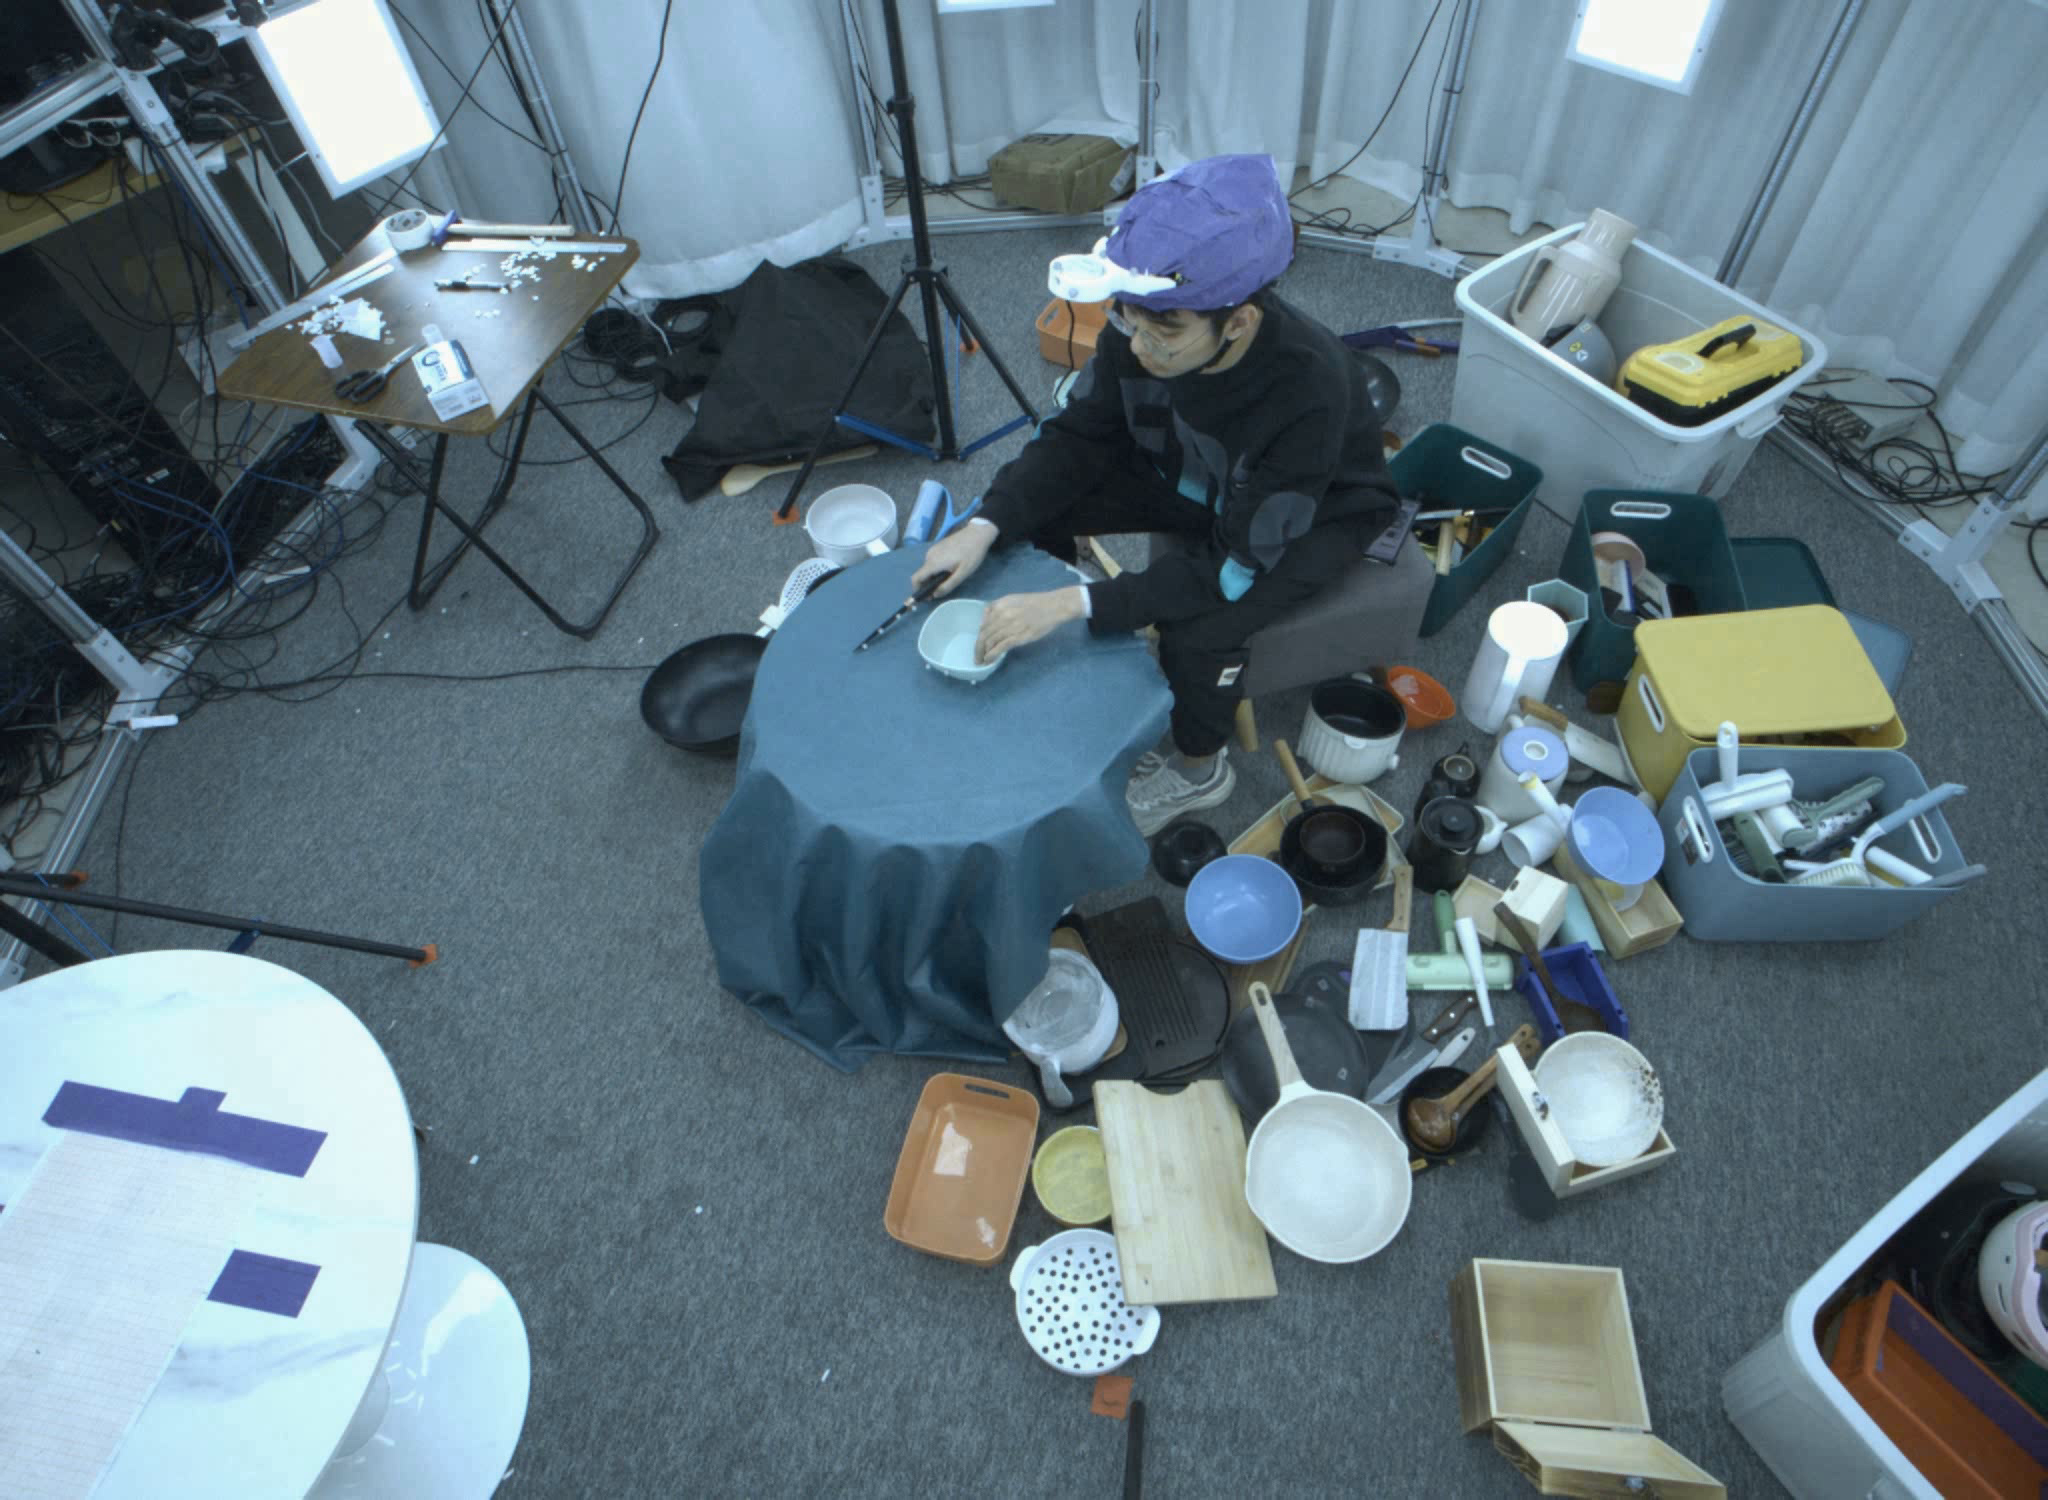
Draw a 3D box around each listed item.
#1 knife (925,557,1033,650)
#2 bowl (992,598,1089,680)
[{"bbox_3d":[-0.071,-0.231,1.930,0.226,0.026,0.017,-41,84,-12],"label":"knife"},{"bbox_3d":[0.026,-0.158,1.864,0.151,0.059,0.150,-1,54,3],"label":"bowl"}]
